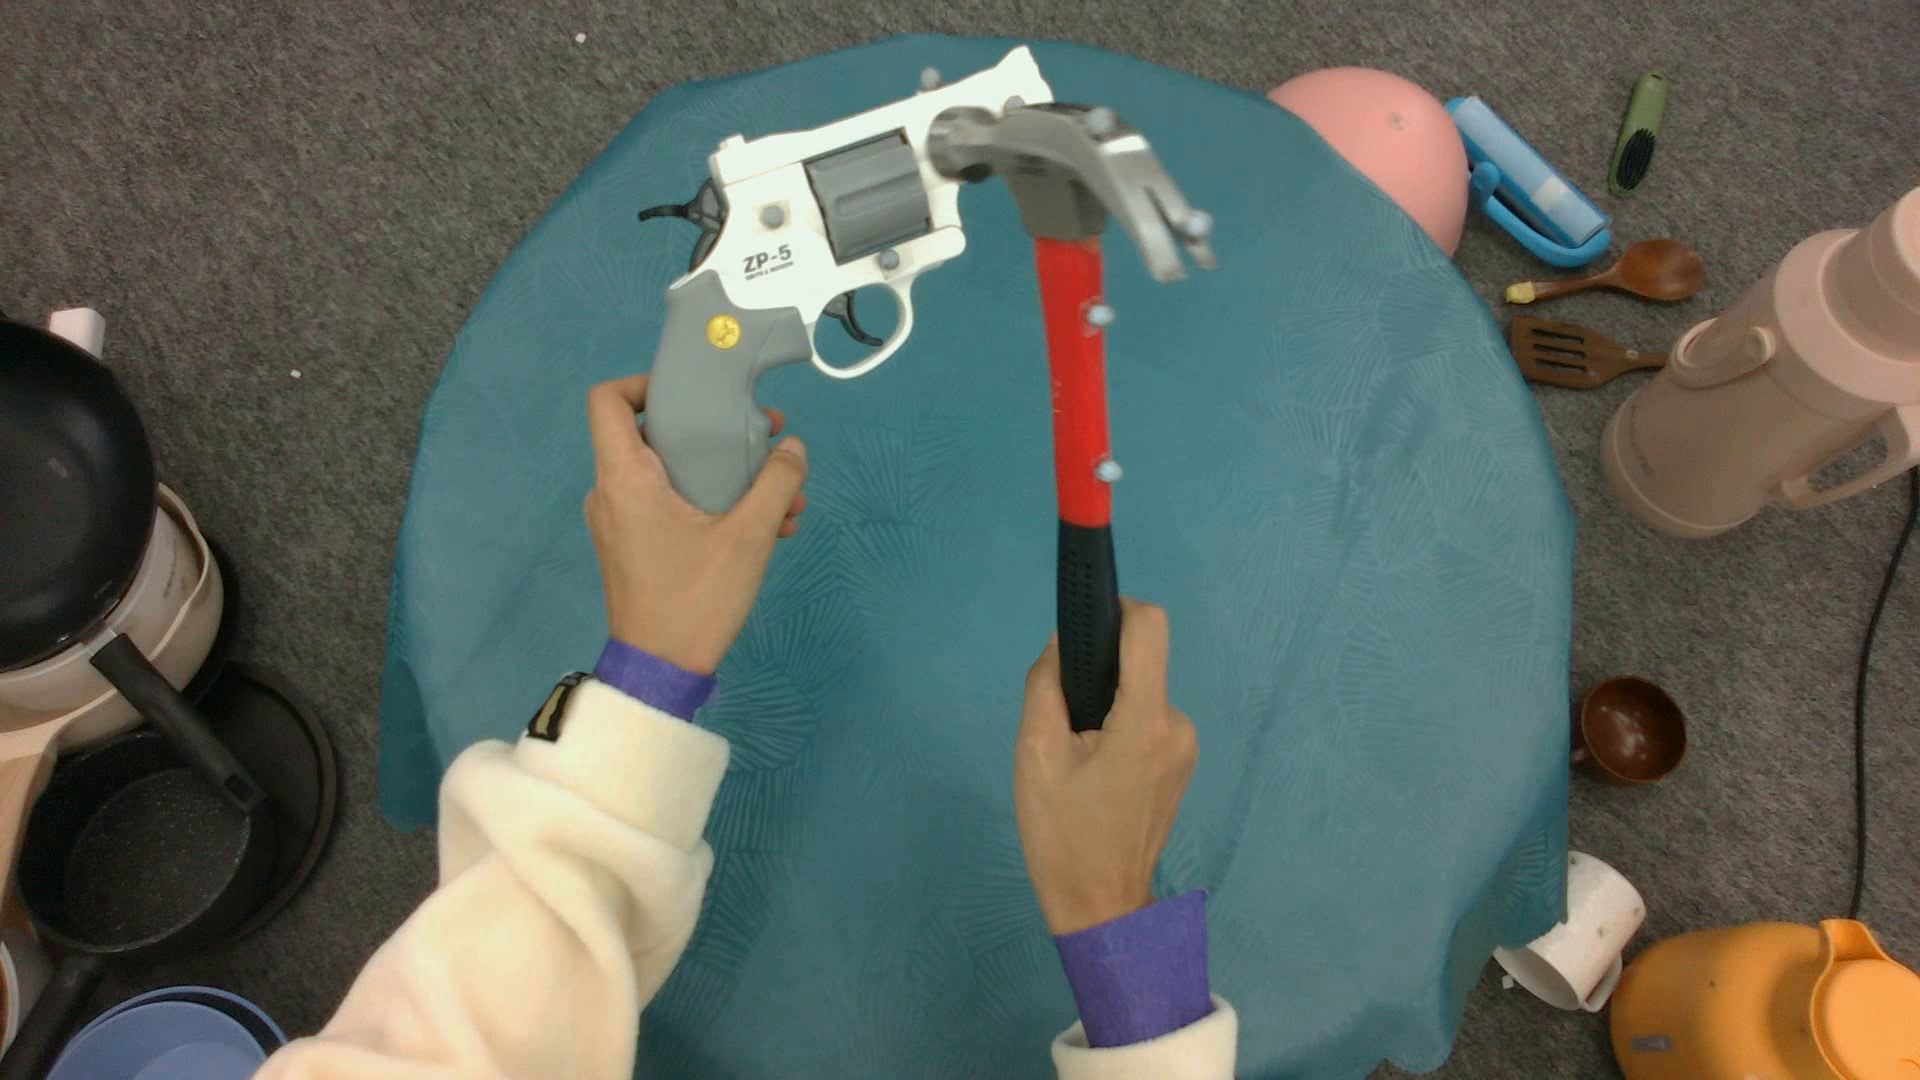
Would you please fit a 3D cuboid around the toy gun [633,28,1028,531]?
[{"bbox_3d":[-0.050,-0.102,0.544,0.209,0.039,0.141,-25,105,-14],"label":"toy gun"}]

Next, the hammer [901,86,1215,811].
[{"bbox_3d":[0.038,-0.019,0.496,0.110,0.276,0.026,17,34,37],"label":"hammer"}]
